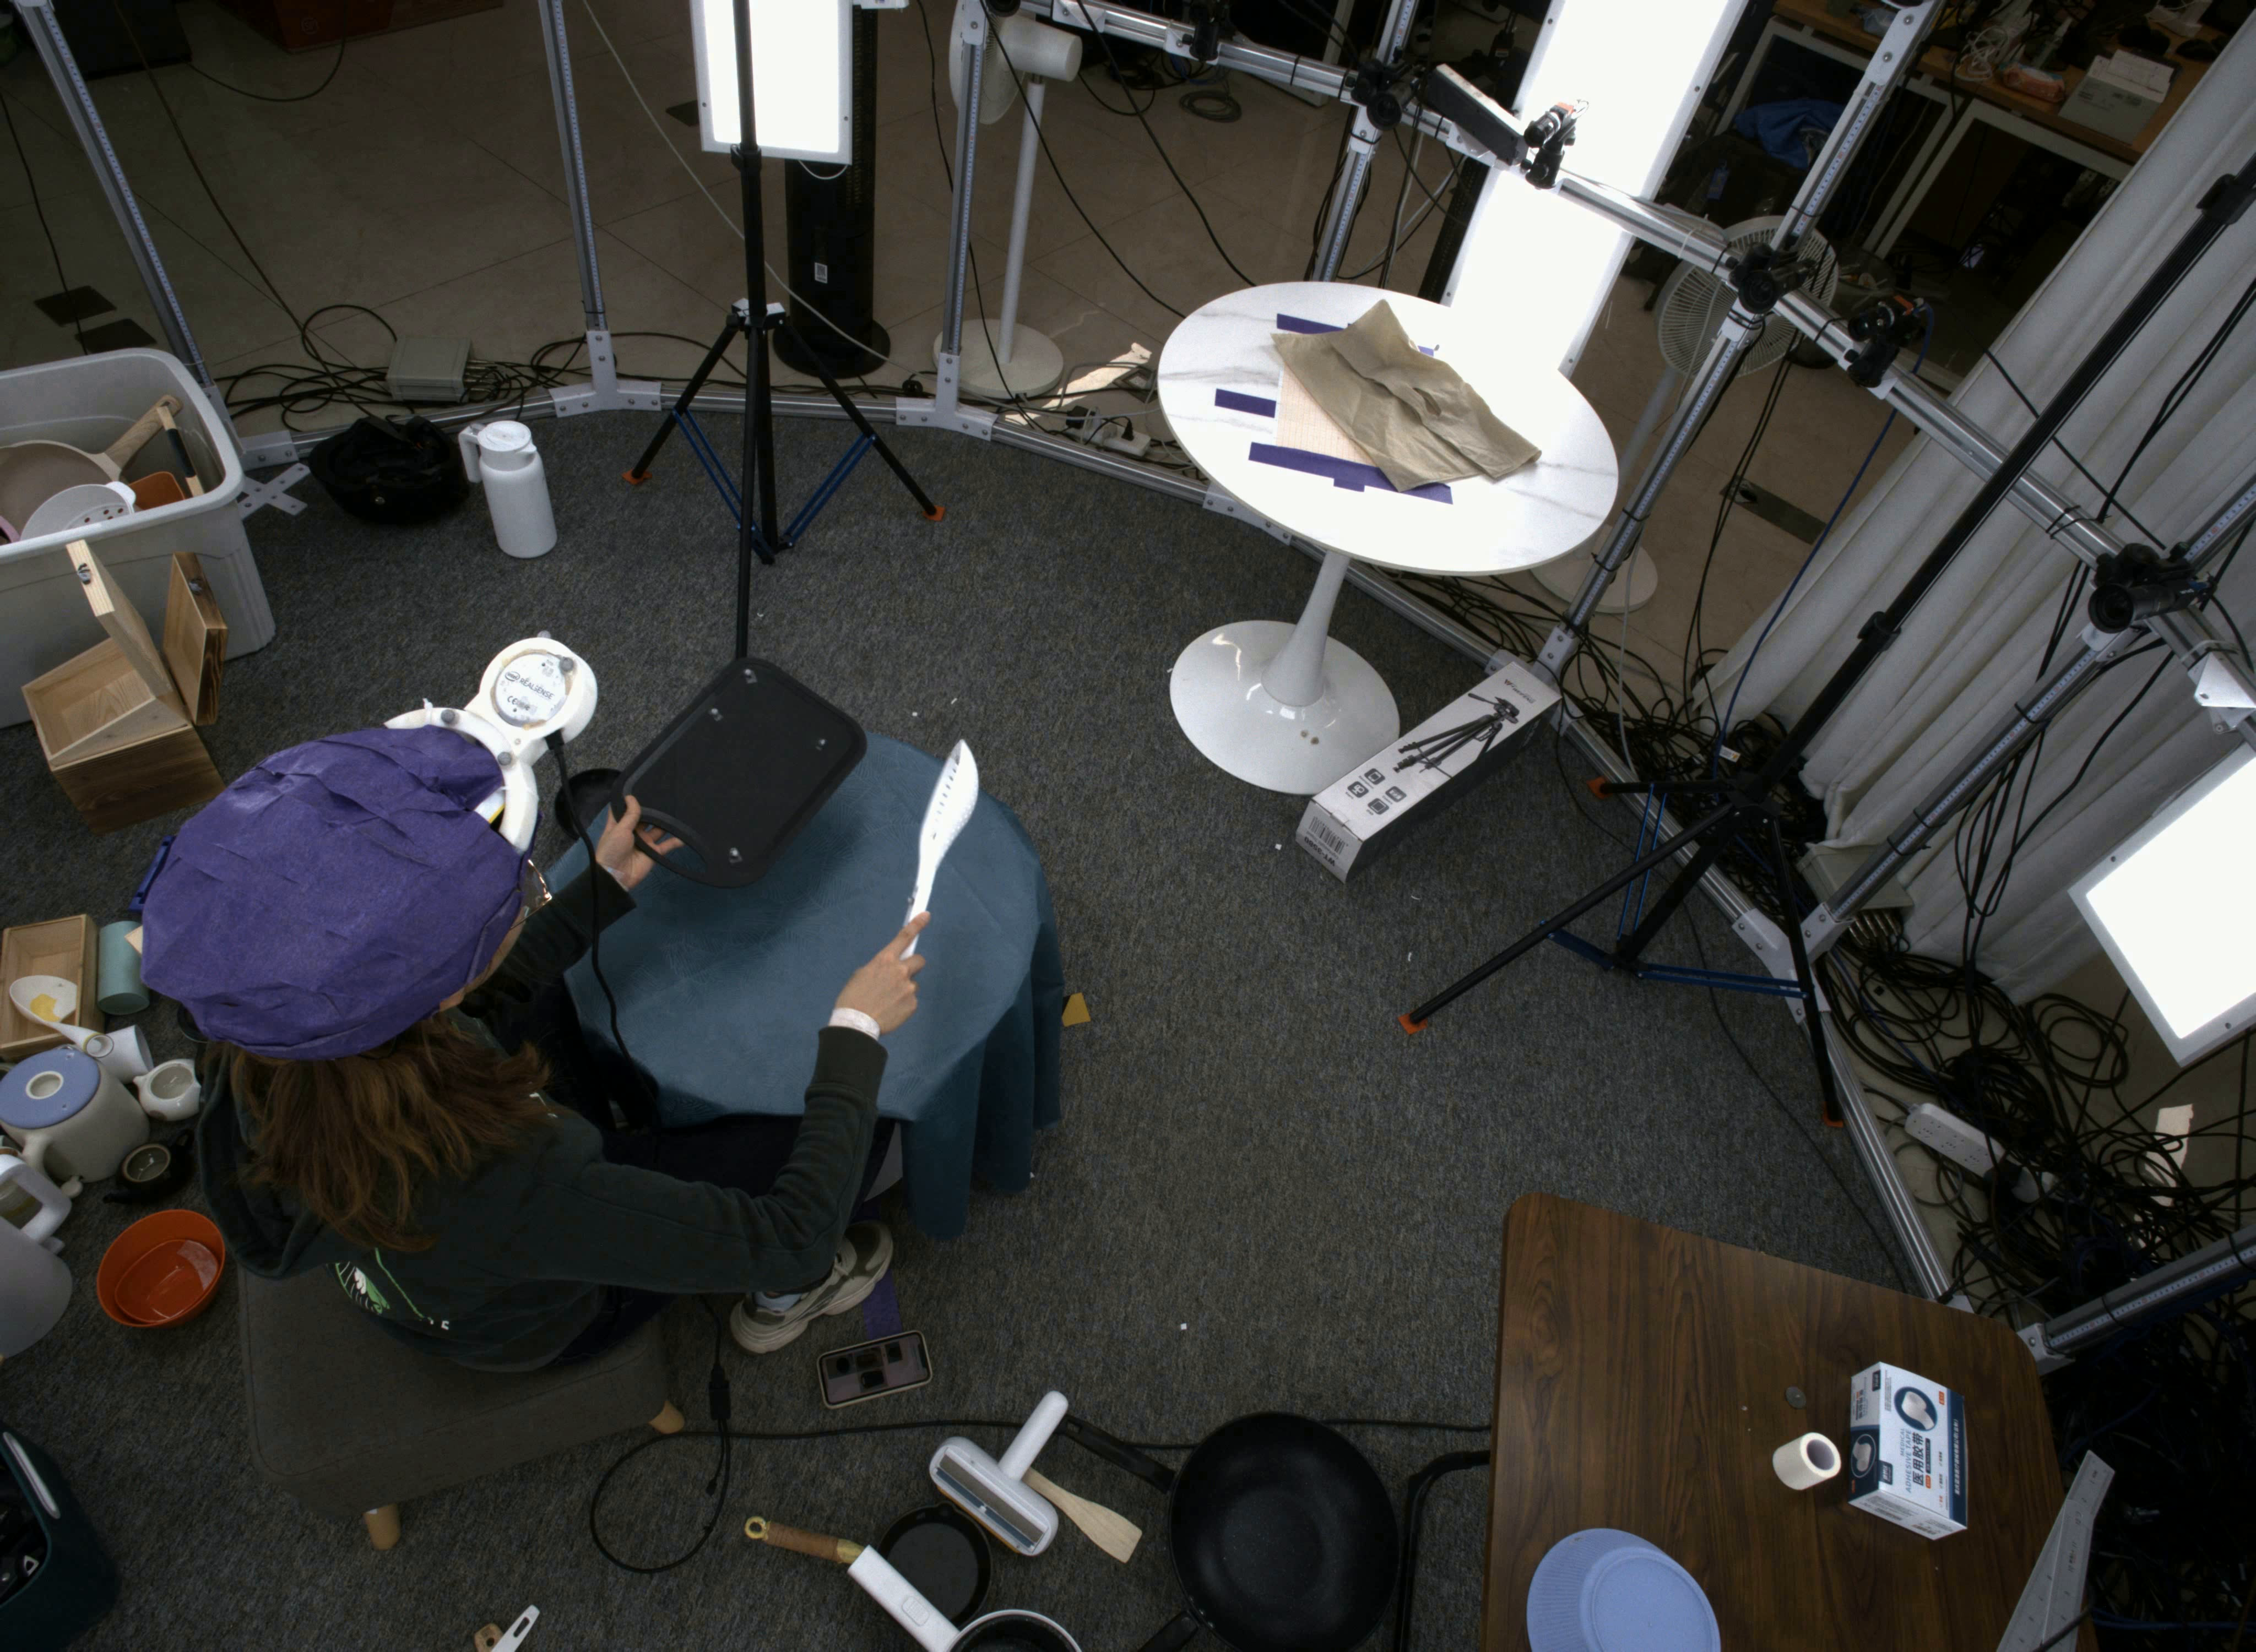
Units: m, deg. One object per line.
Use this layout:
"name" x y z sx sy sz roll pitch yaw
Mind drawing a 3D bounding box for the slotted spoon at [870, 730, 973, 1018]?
"slotted spoon" -0.231 0.048 1.442 0.046 0.135 0.346 25 58 -14

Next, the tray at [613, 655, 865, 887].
"tray" -0.478 -0.070 1.592 0.212 0.010 0.323 36 52 -6
